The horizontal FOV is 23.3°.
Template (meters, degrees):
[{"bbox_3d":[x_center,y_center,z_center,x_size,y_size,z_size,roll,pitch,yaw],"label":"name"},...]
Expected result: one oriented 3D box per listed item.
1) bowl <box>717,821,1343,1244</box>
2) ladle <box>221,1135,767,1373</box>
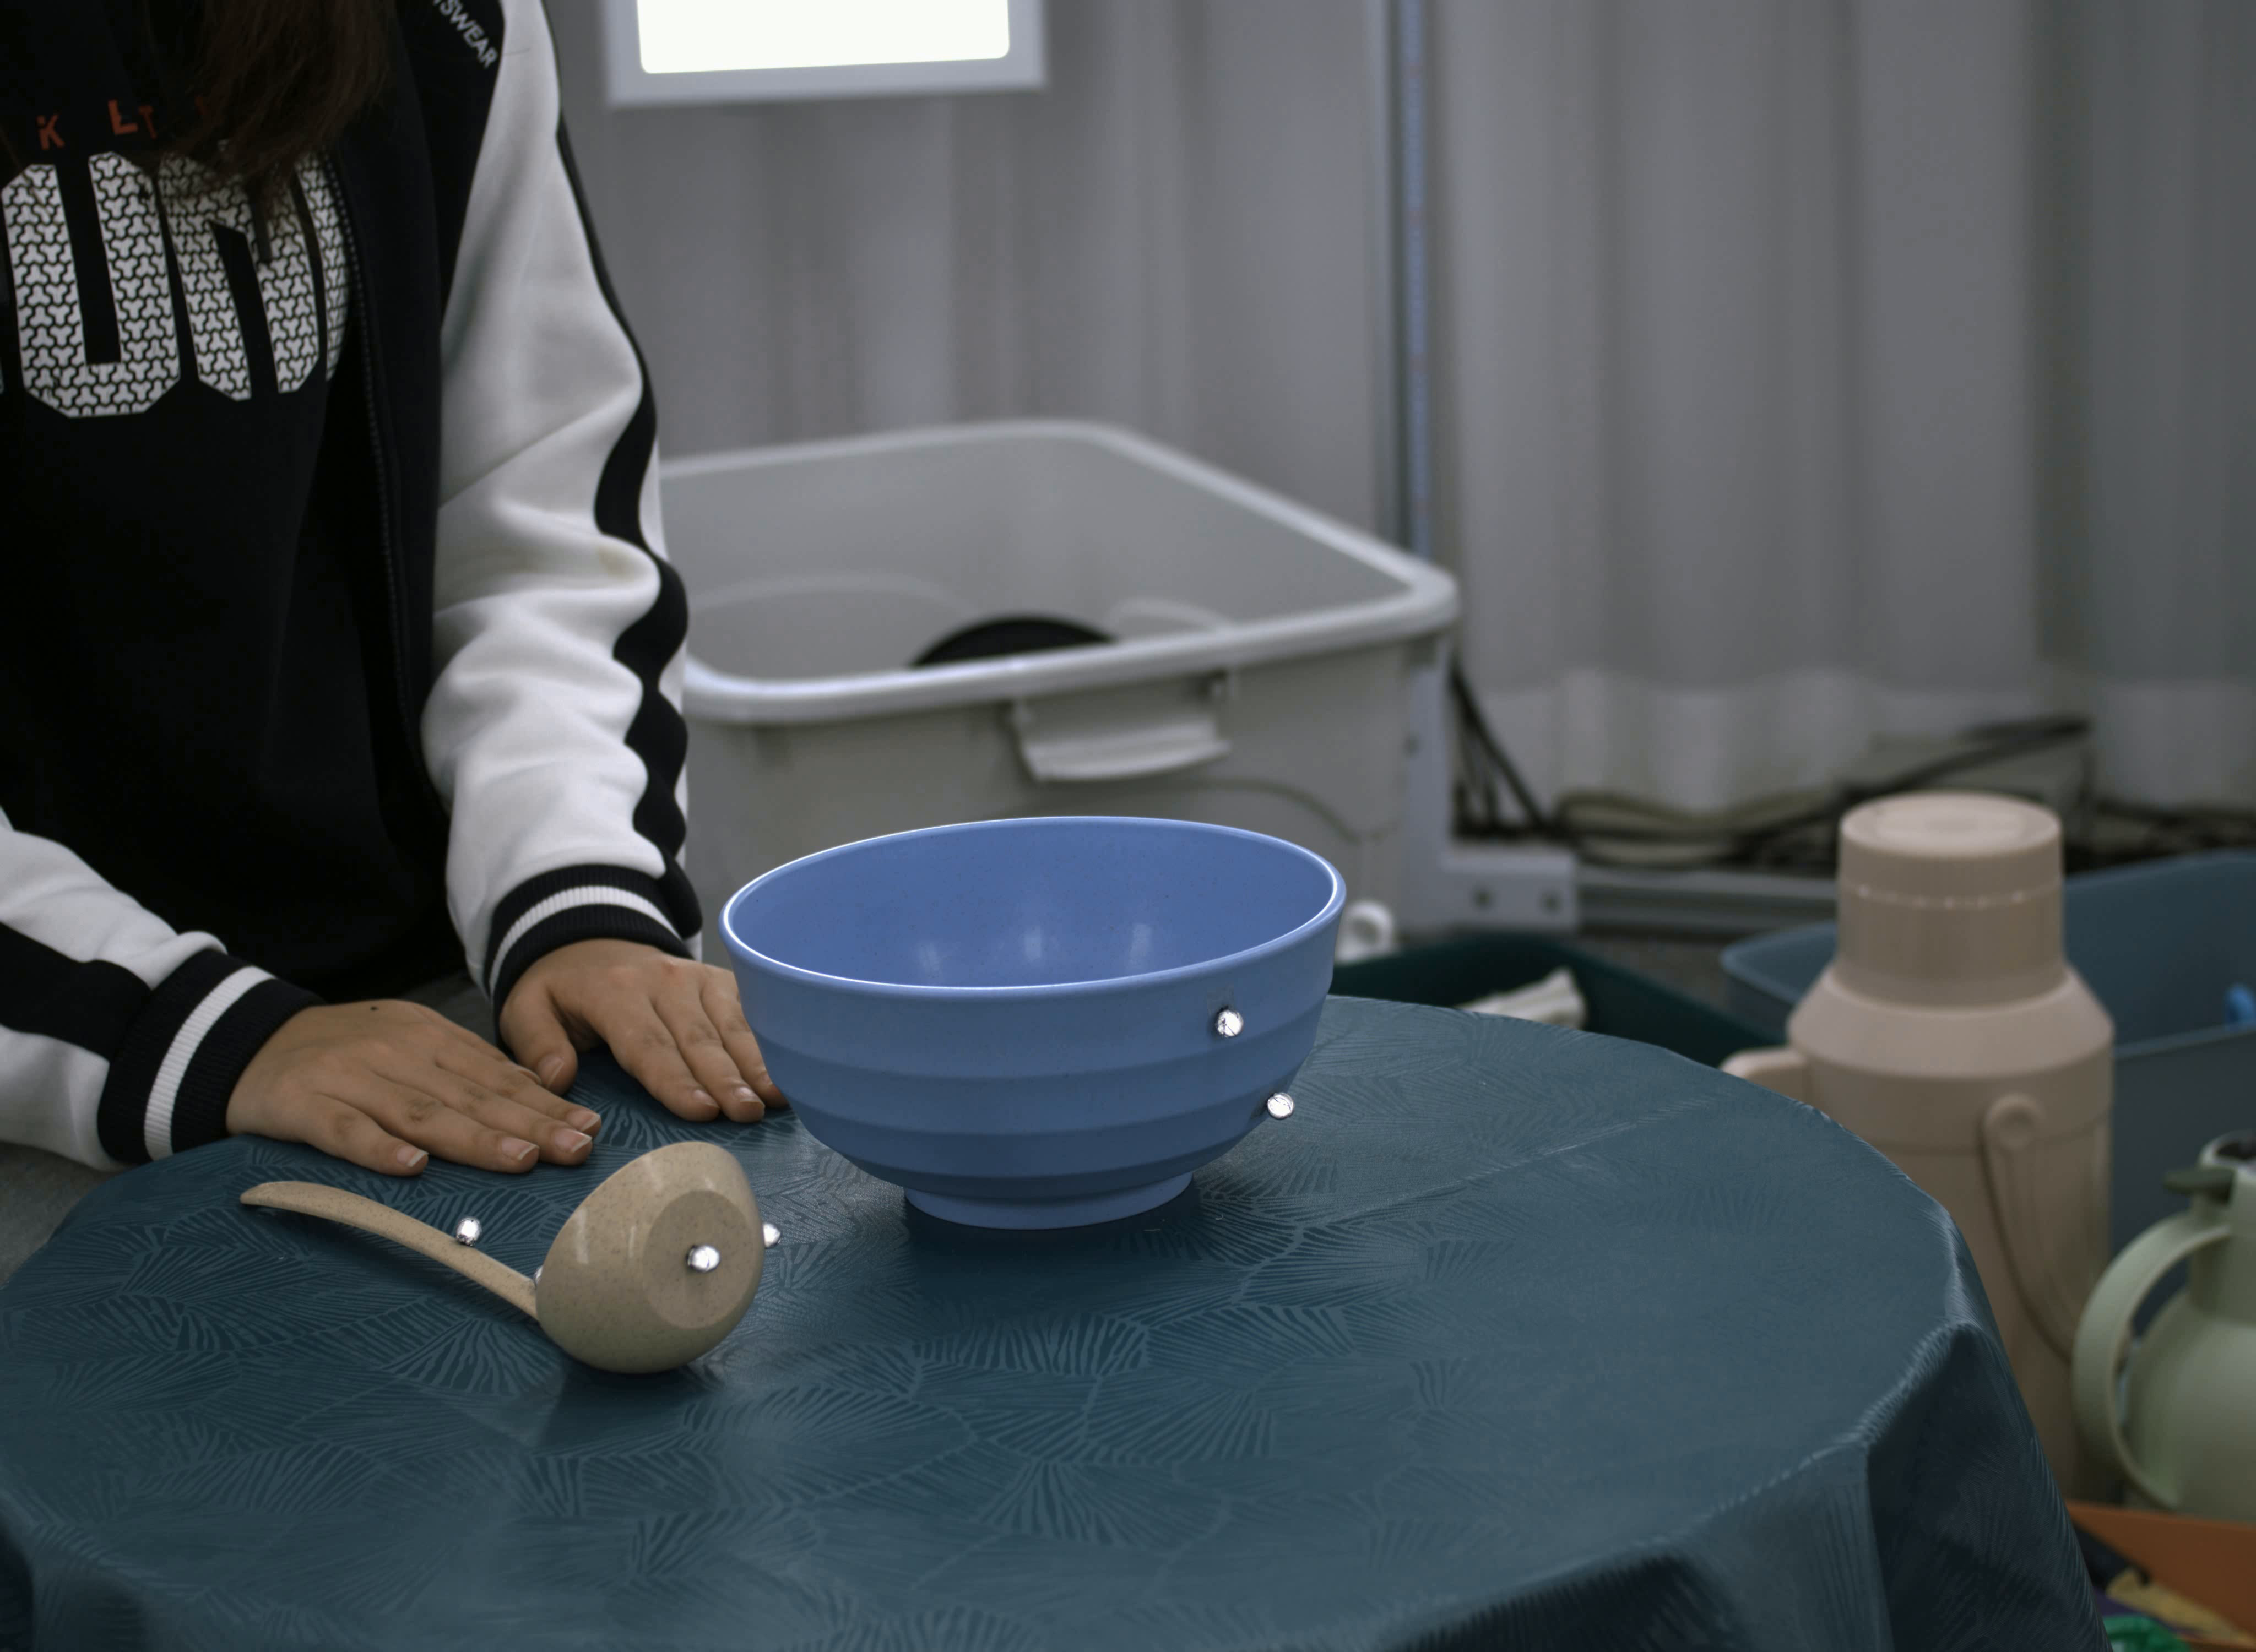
[{"bbox_3d":[-0.027,0.071,1.716,0.196,0.095,0.198,-4,15,1],"label":"bowl"},{"bbox_3d":[-0.203,0.106,1.645,0.072,0.072,0.256,-14,18,-39],"label":"ladle"}]
